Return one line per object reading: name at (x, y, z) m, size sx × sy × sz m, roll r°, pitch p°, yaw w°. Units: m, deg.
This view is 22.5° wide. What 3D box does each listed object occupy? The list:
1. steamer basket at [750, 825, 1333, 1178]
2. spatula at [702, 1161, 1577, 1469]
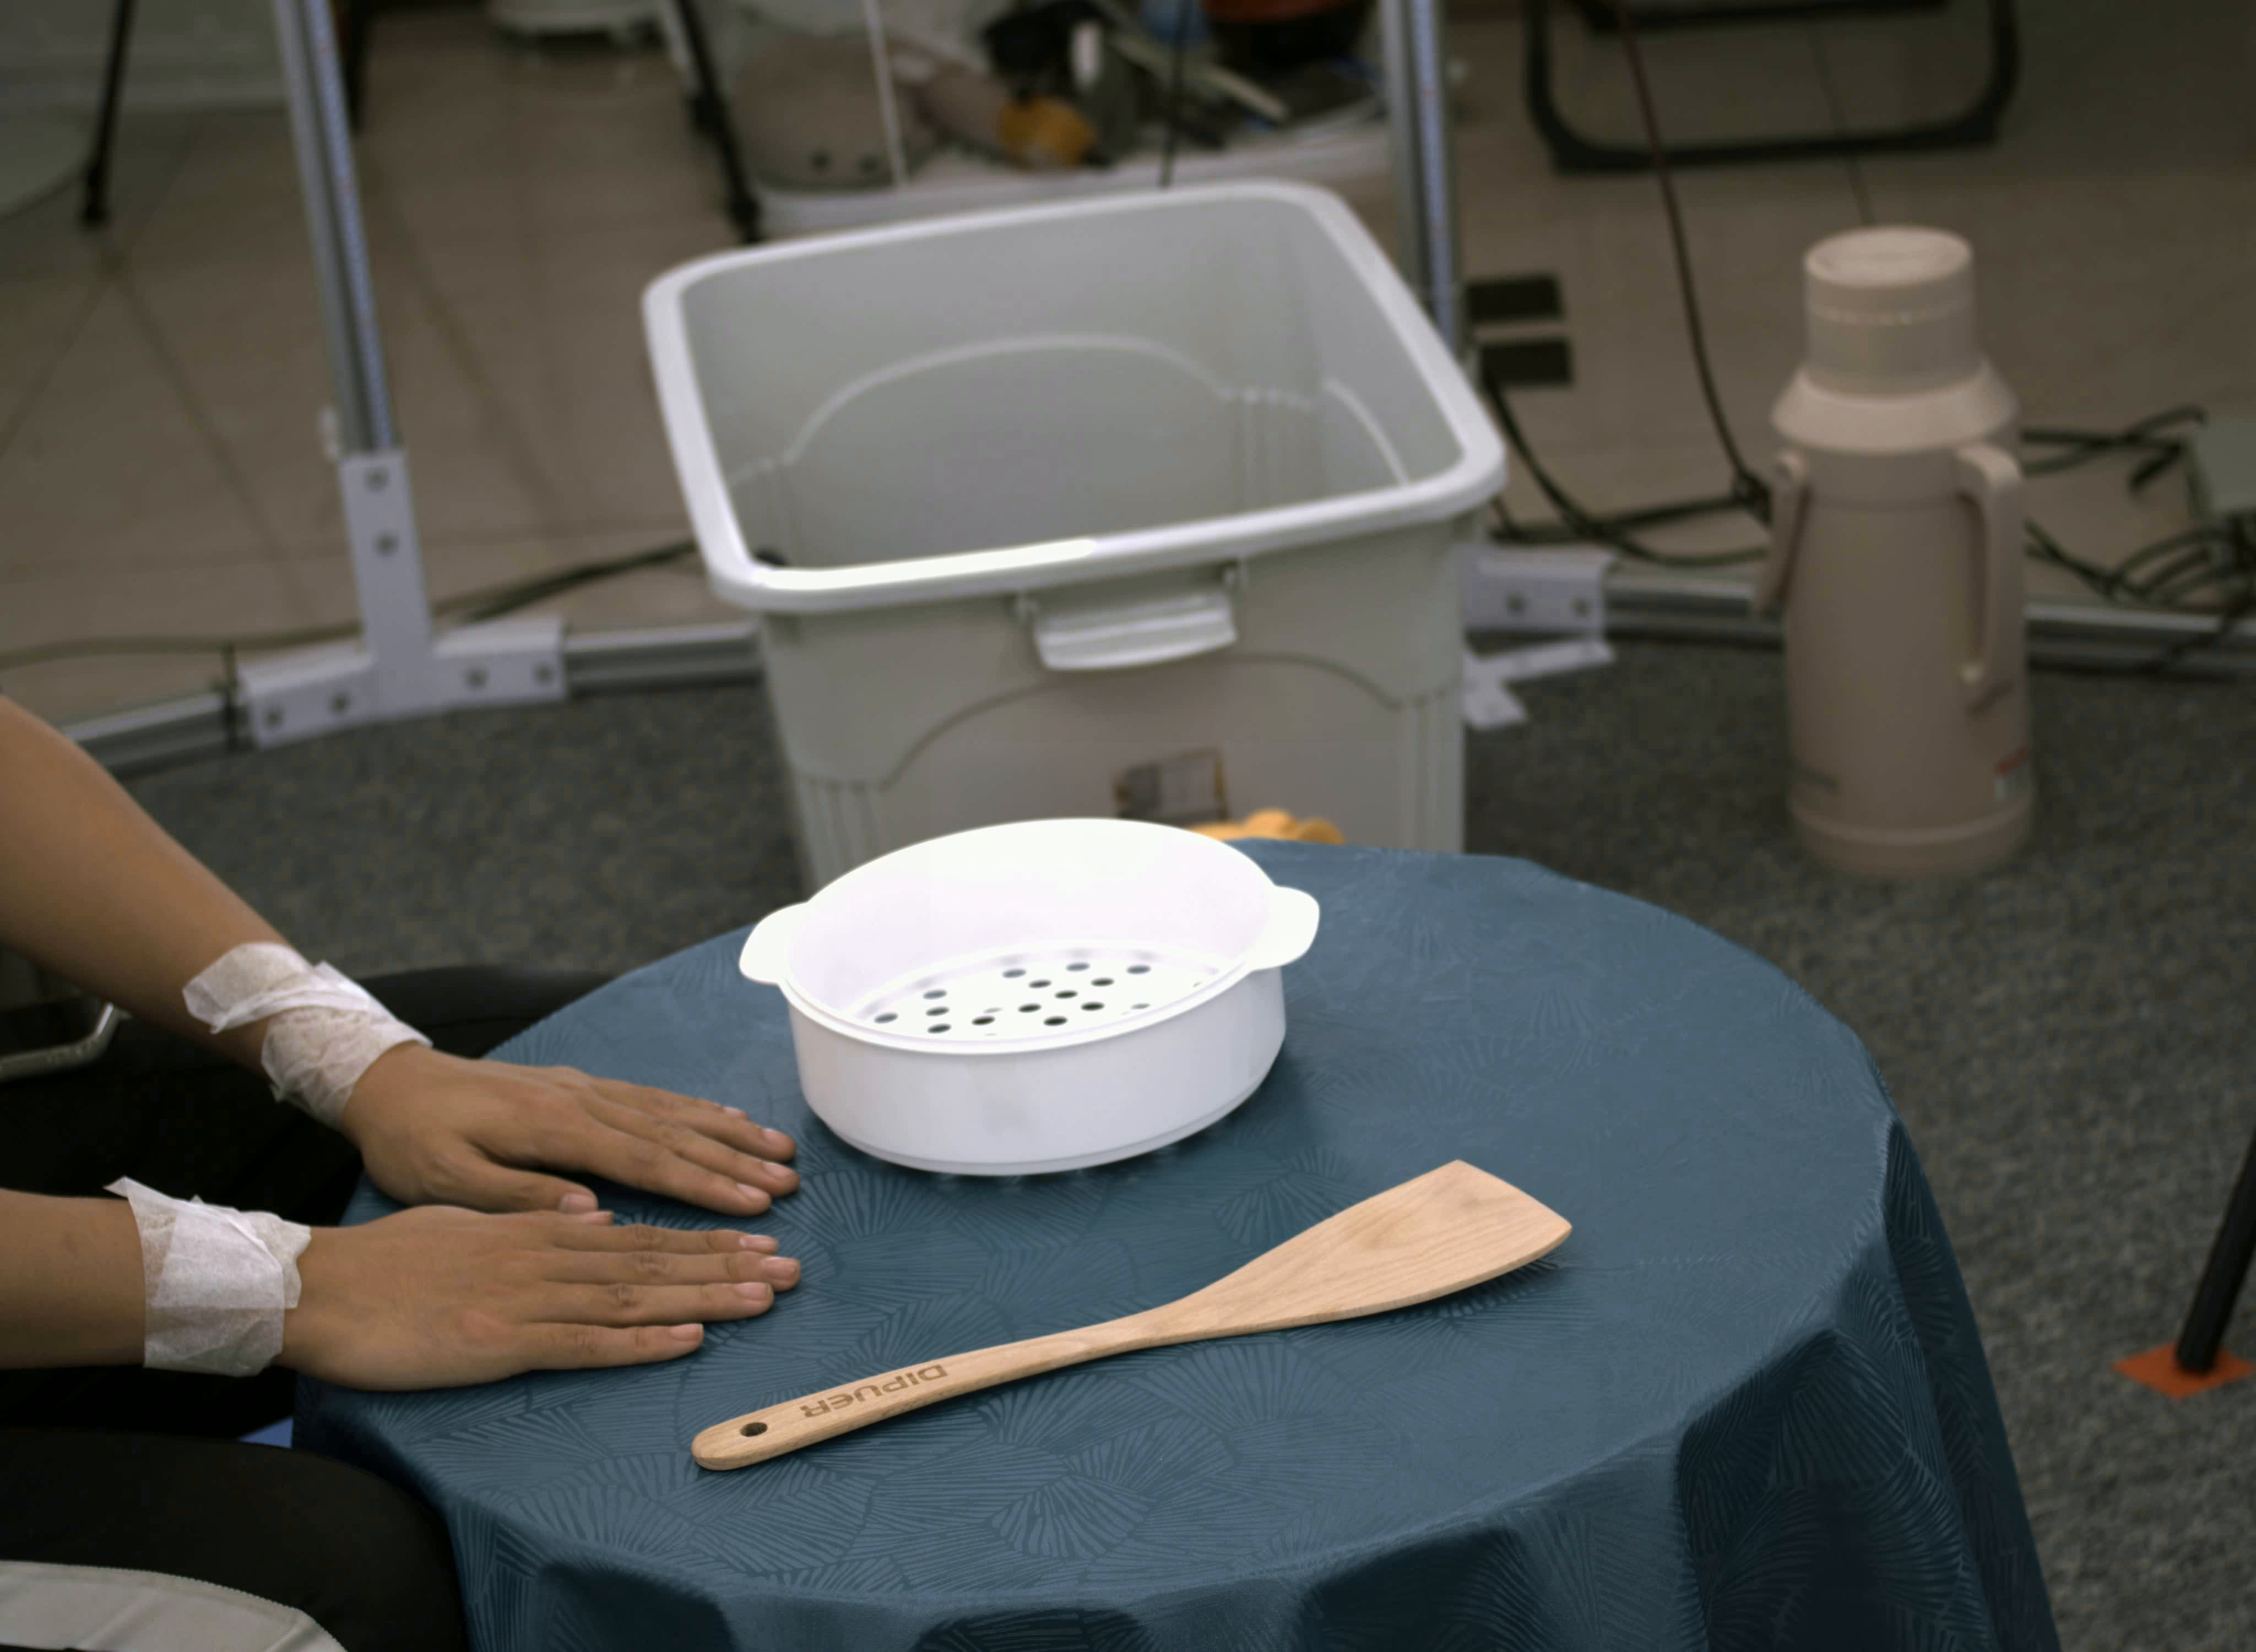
steamer basket at (-0.031, 0.069, 2.231) m, size 0.230 × 0.070 × 0.199 m, roll -2°, pitch 24°, yaw 11°
spatula at (0.001, 0.178, 2.046) m, size 0.326 × 0.017 × 0.079 m, roll -15°, pitch 25°, yaw -16°
